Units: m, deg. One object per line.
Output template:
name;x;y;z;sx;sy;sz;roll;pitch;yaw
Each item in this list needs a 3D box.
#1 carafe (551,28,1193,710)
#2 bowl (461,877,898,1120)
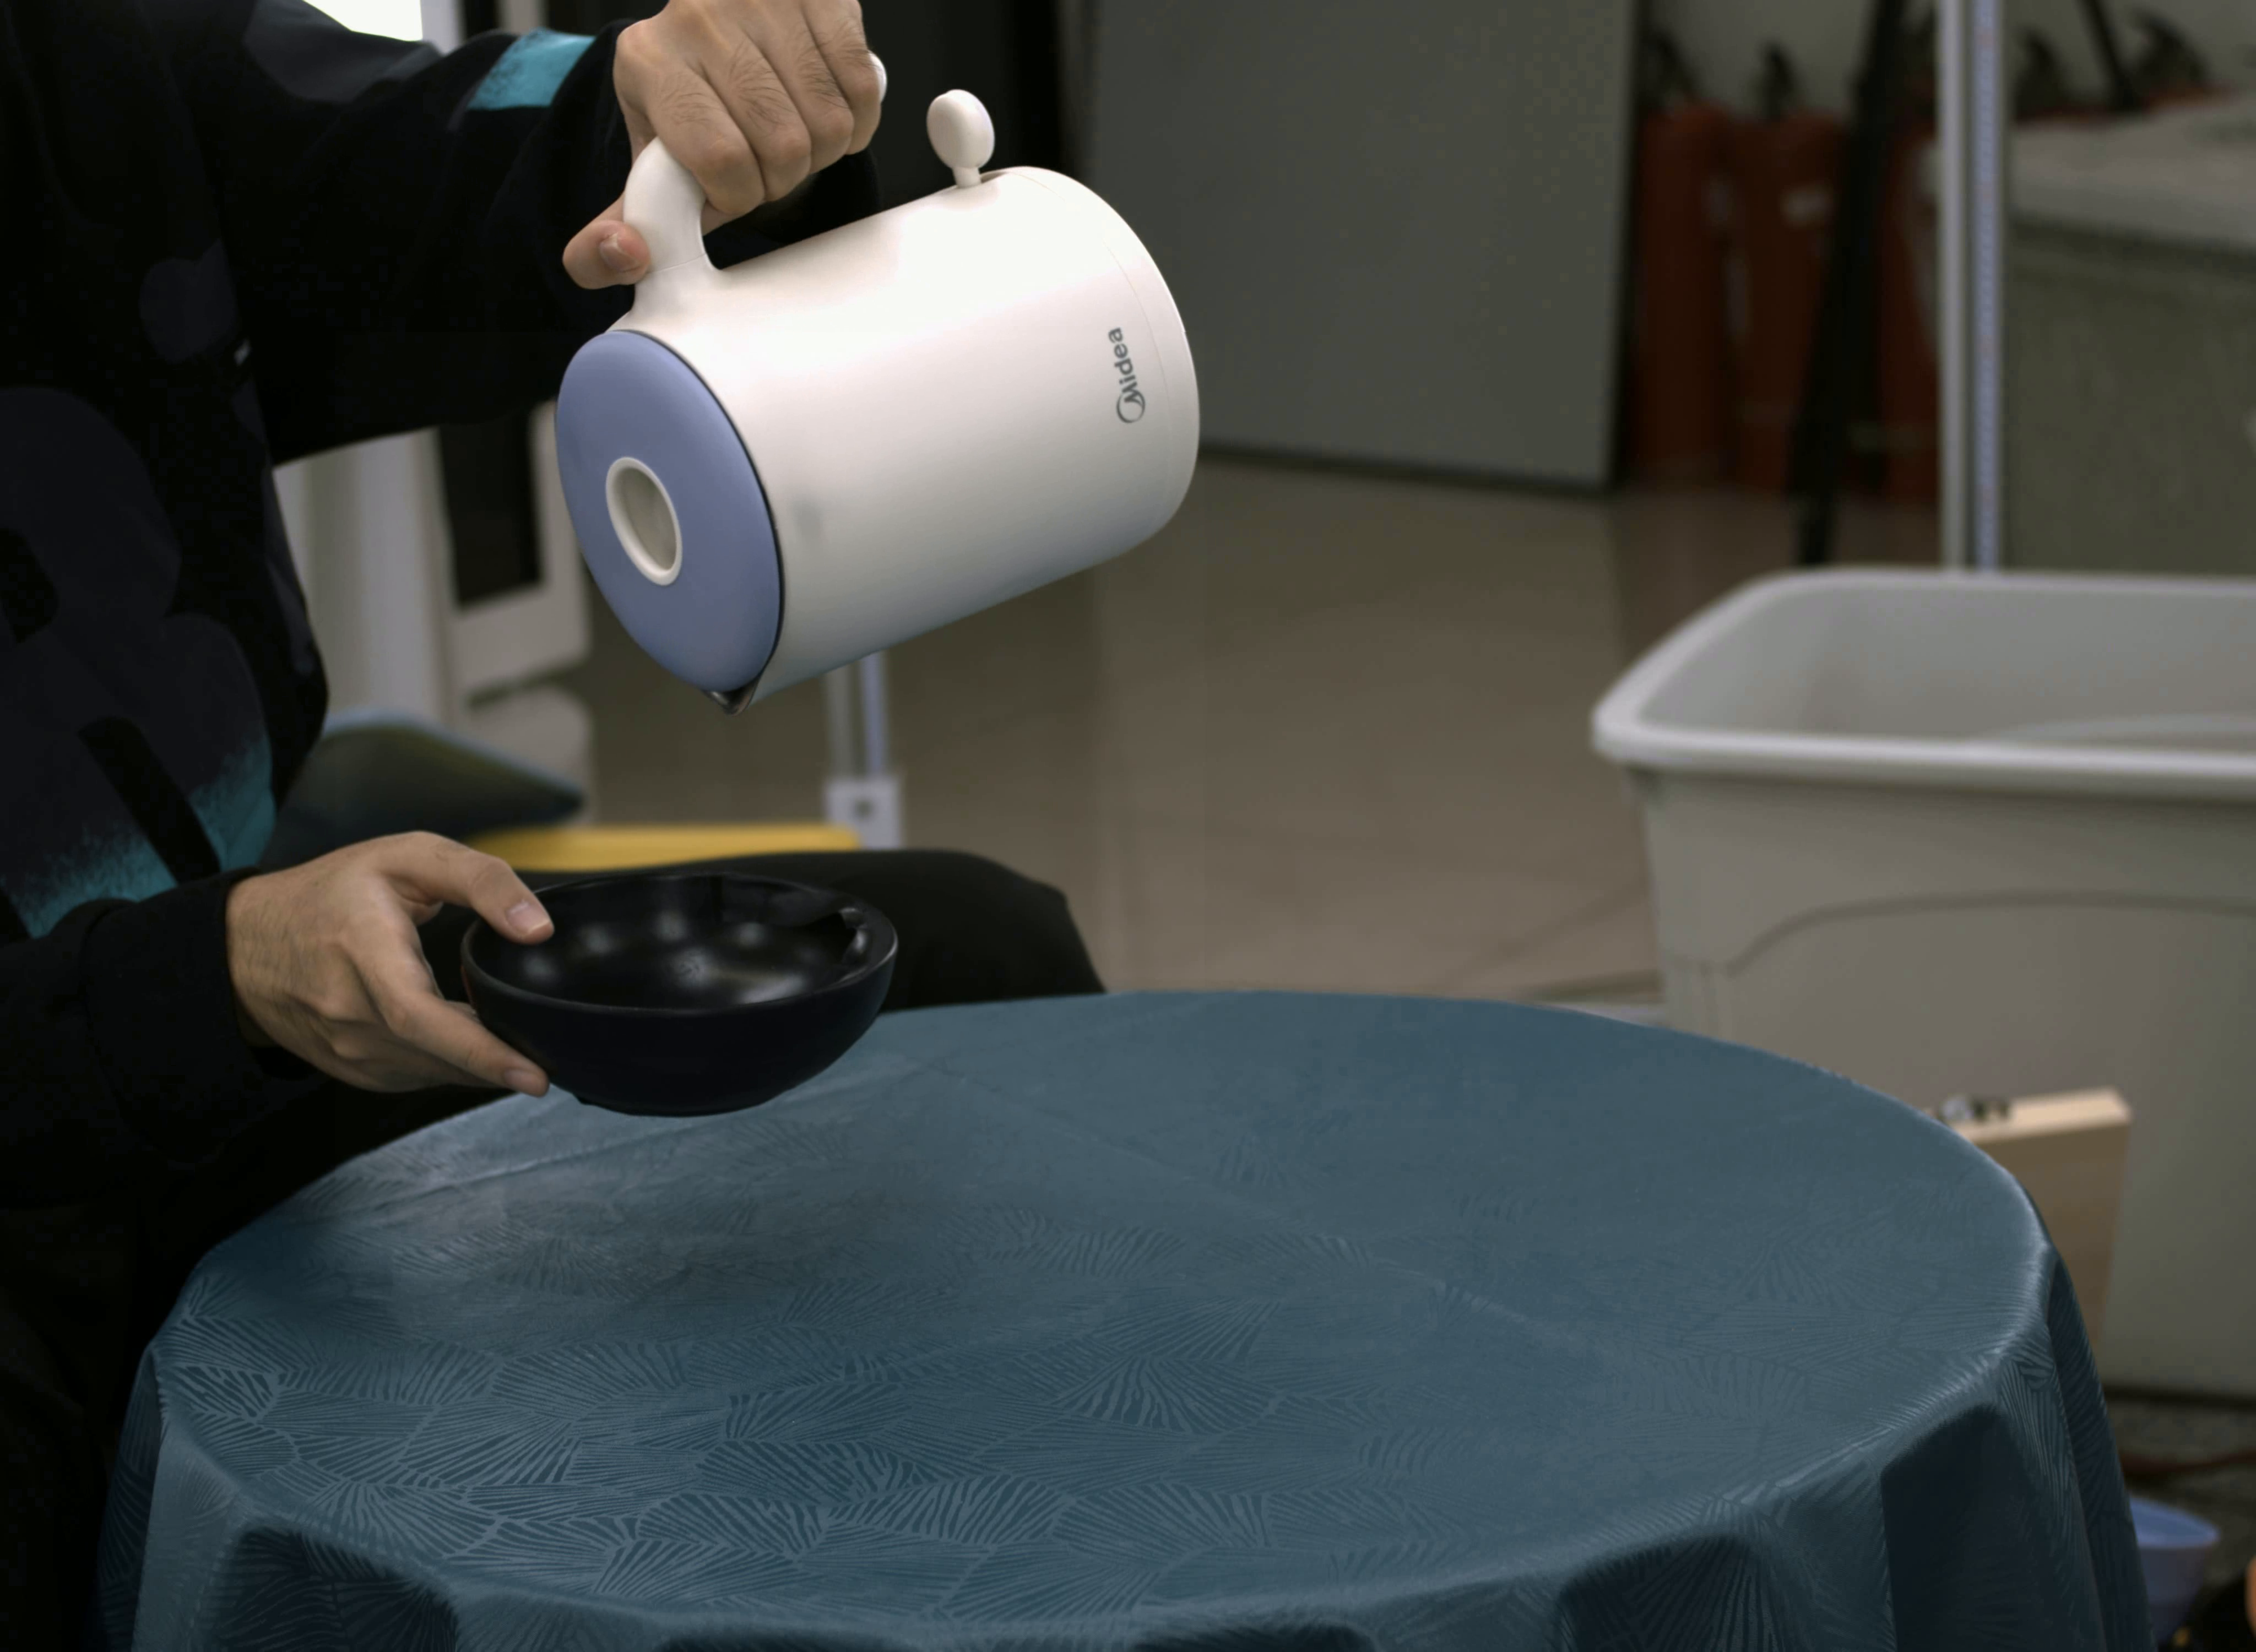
carafe;-0.087;-0.152;1.711;0.179;0.193;0.133;-20;11;-32
bowl;-0.140;0.058;1.707;0.138;0.050;0.140;-2;15;0
